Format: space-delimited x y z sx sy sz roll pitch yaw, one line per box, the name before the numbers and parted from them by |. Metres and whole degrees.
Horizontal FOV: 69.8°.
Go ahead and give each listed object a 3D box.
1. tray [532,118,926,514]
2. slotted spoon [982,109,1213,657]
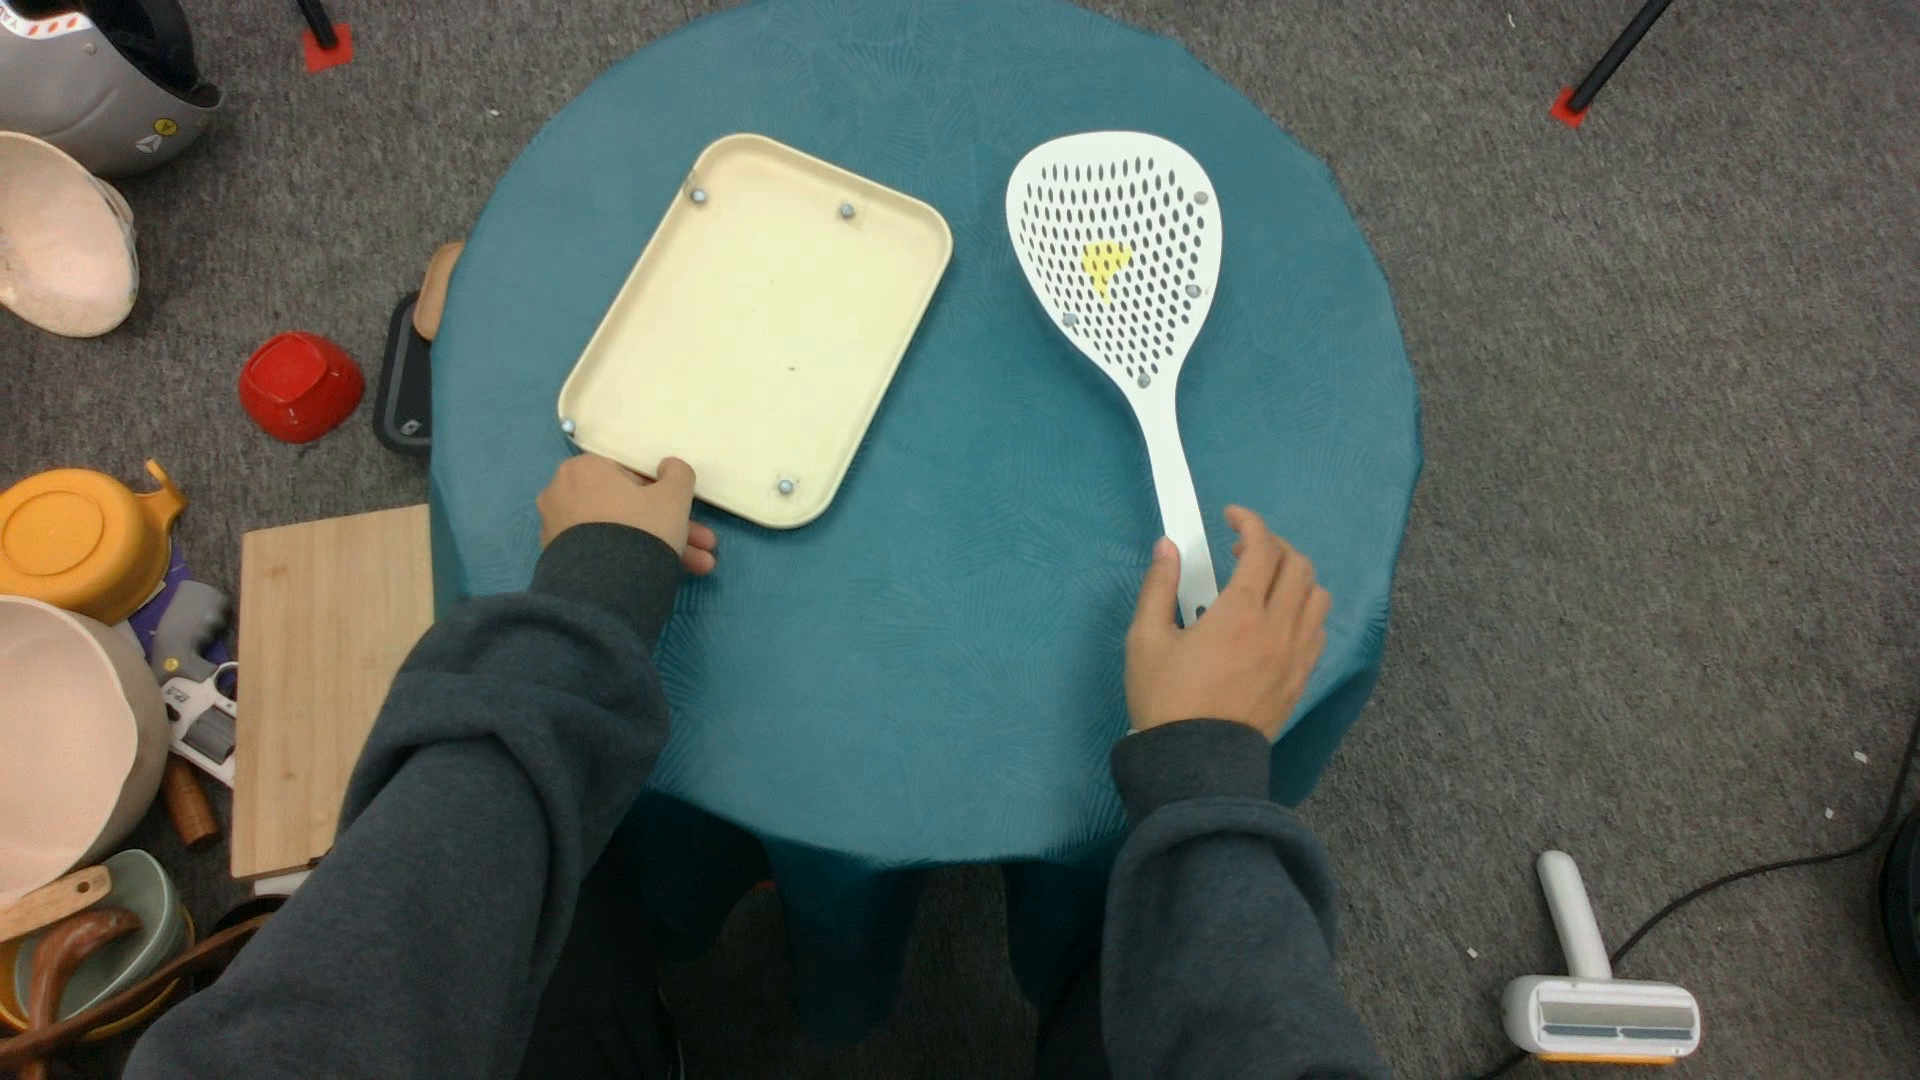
tray | -0.134 -0.138 0.827 0.171 0.017 0.240 23 68 2
slotted spoon | 0.100 -0.101 0.828 0.137 0.050 0.348 -8 71 -13
